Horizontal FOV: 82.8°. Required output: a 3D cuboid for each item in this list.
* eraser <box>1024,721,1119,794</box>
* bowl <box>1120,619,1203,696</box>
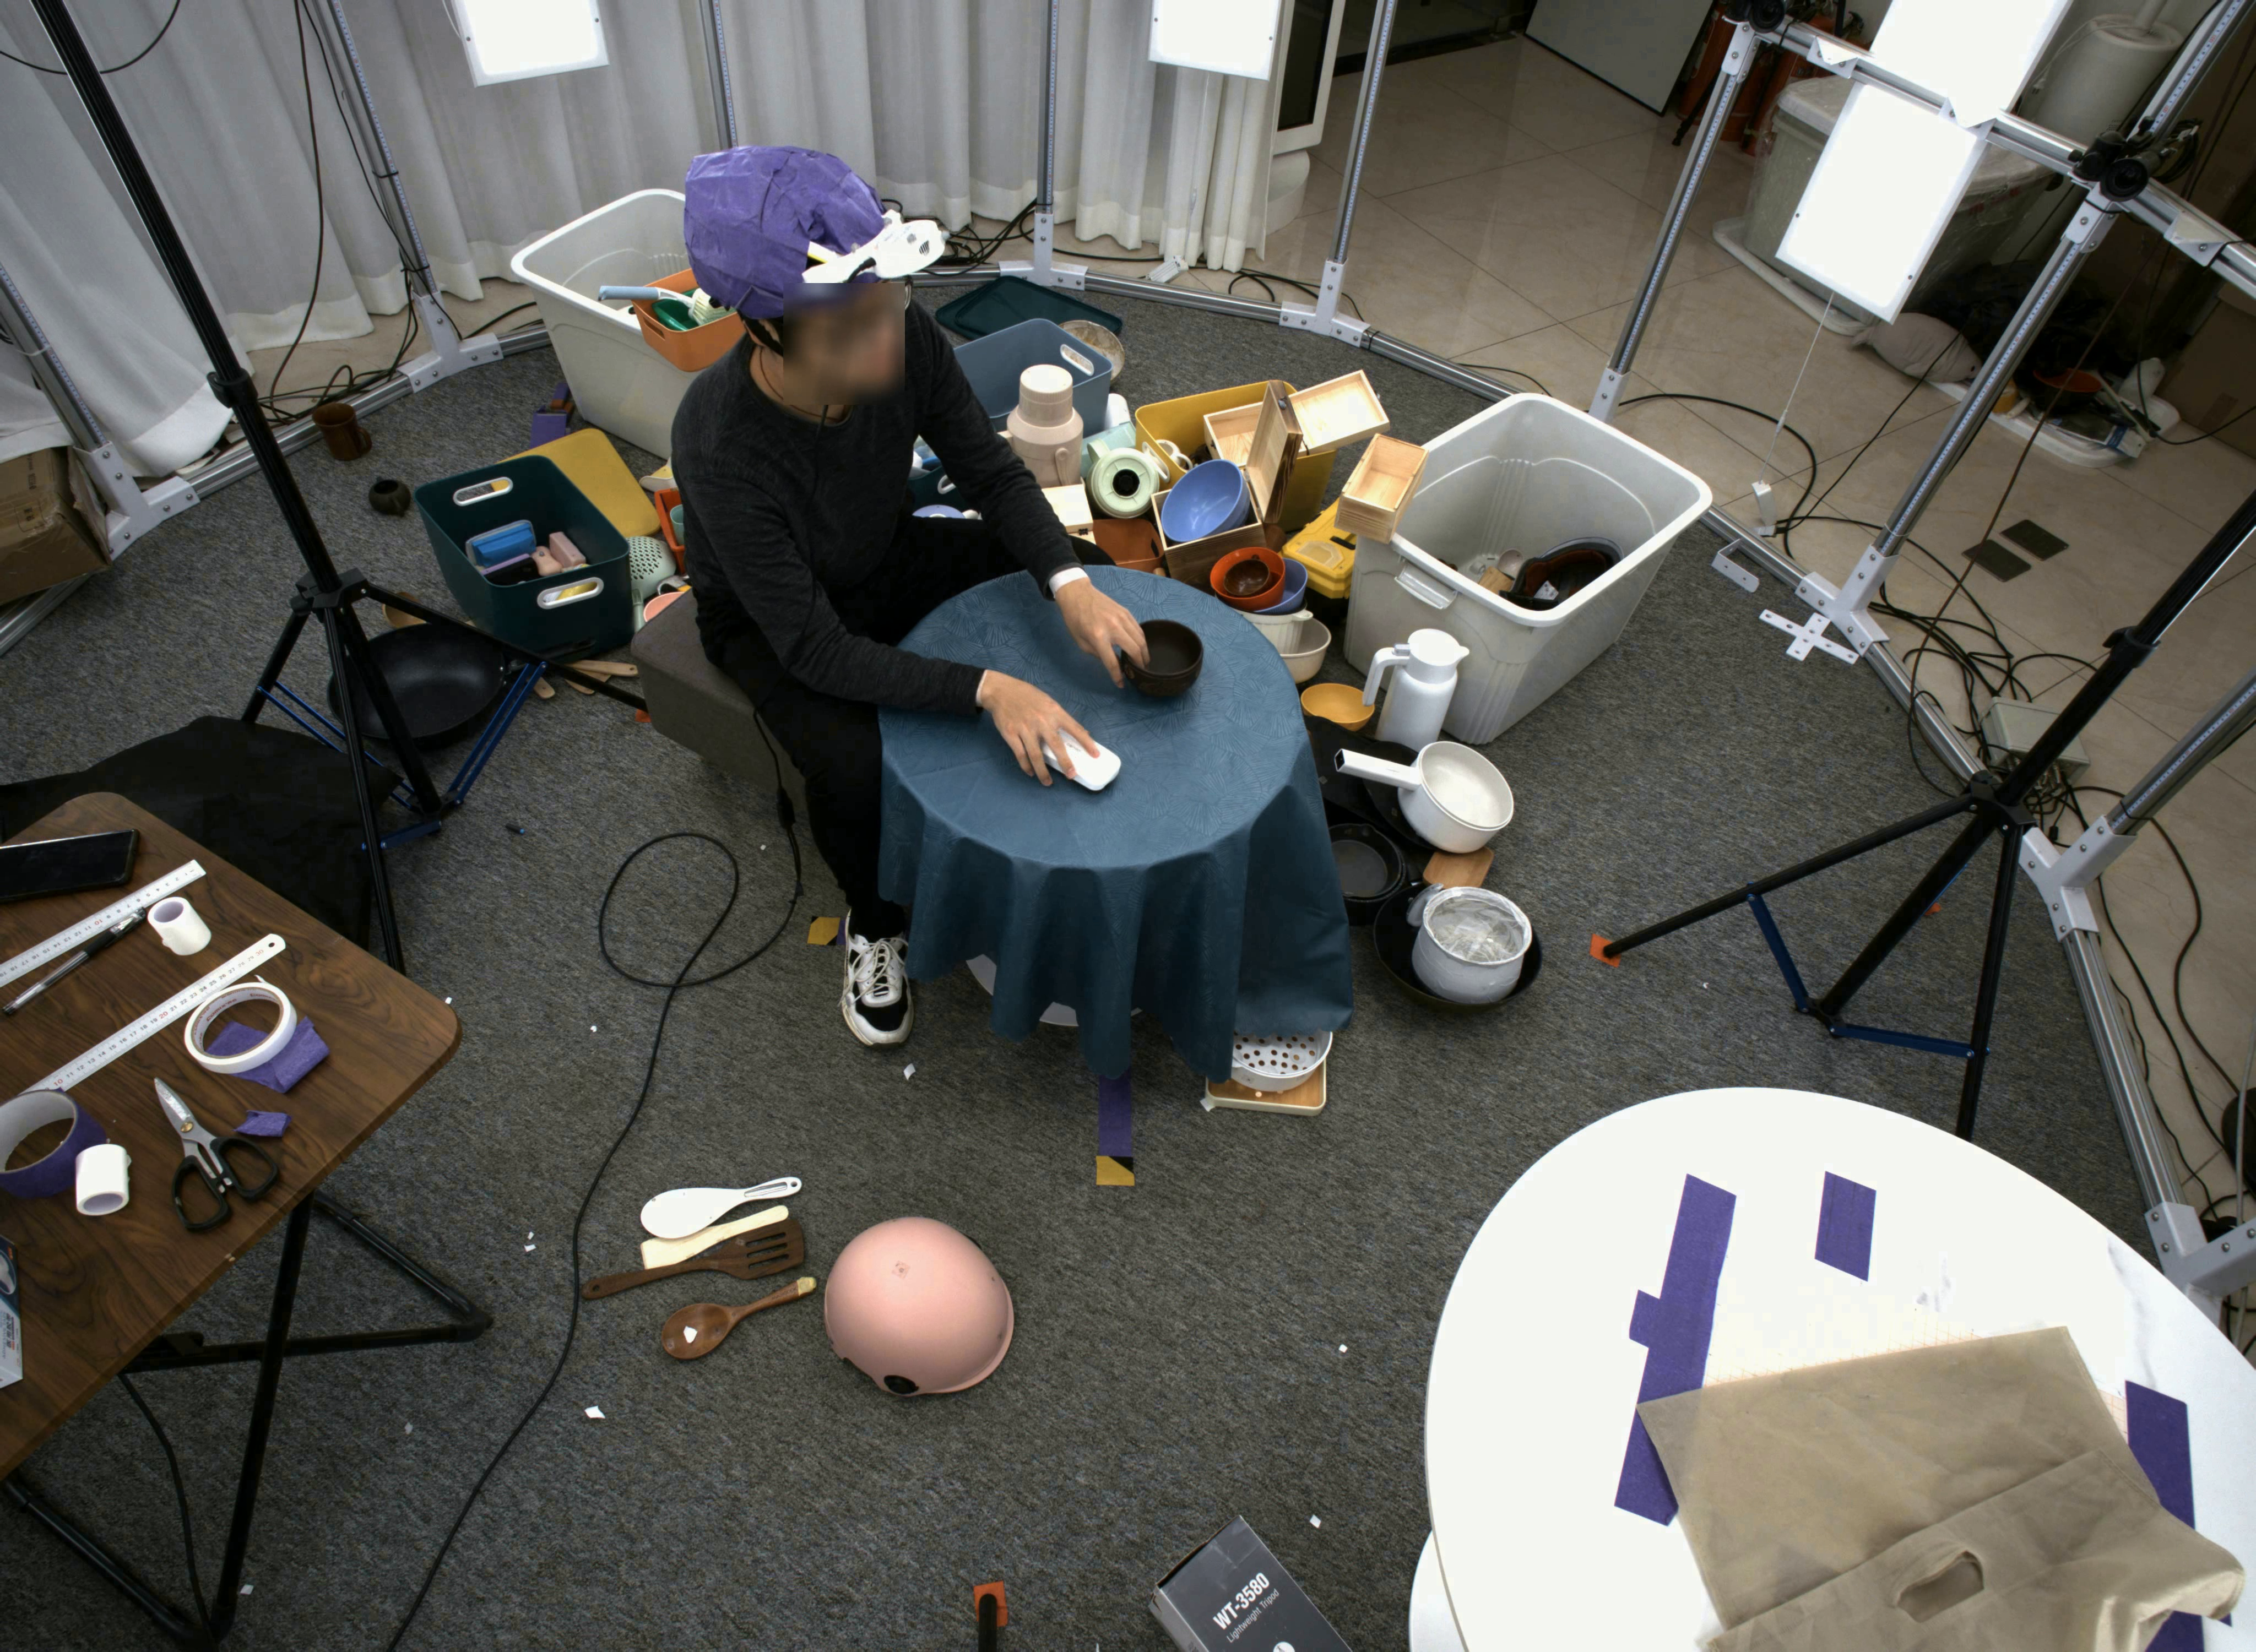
[{"bbox_3d":[-0.076,-0.096,1.728,0.133,0.034,0.064,31,53,21],"label":"eraser"},{"bbox_3d":[0.047,-0.232,1.828,0.118,0.068,0.121,1,49,-2],"label":"bowl"}]
